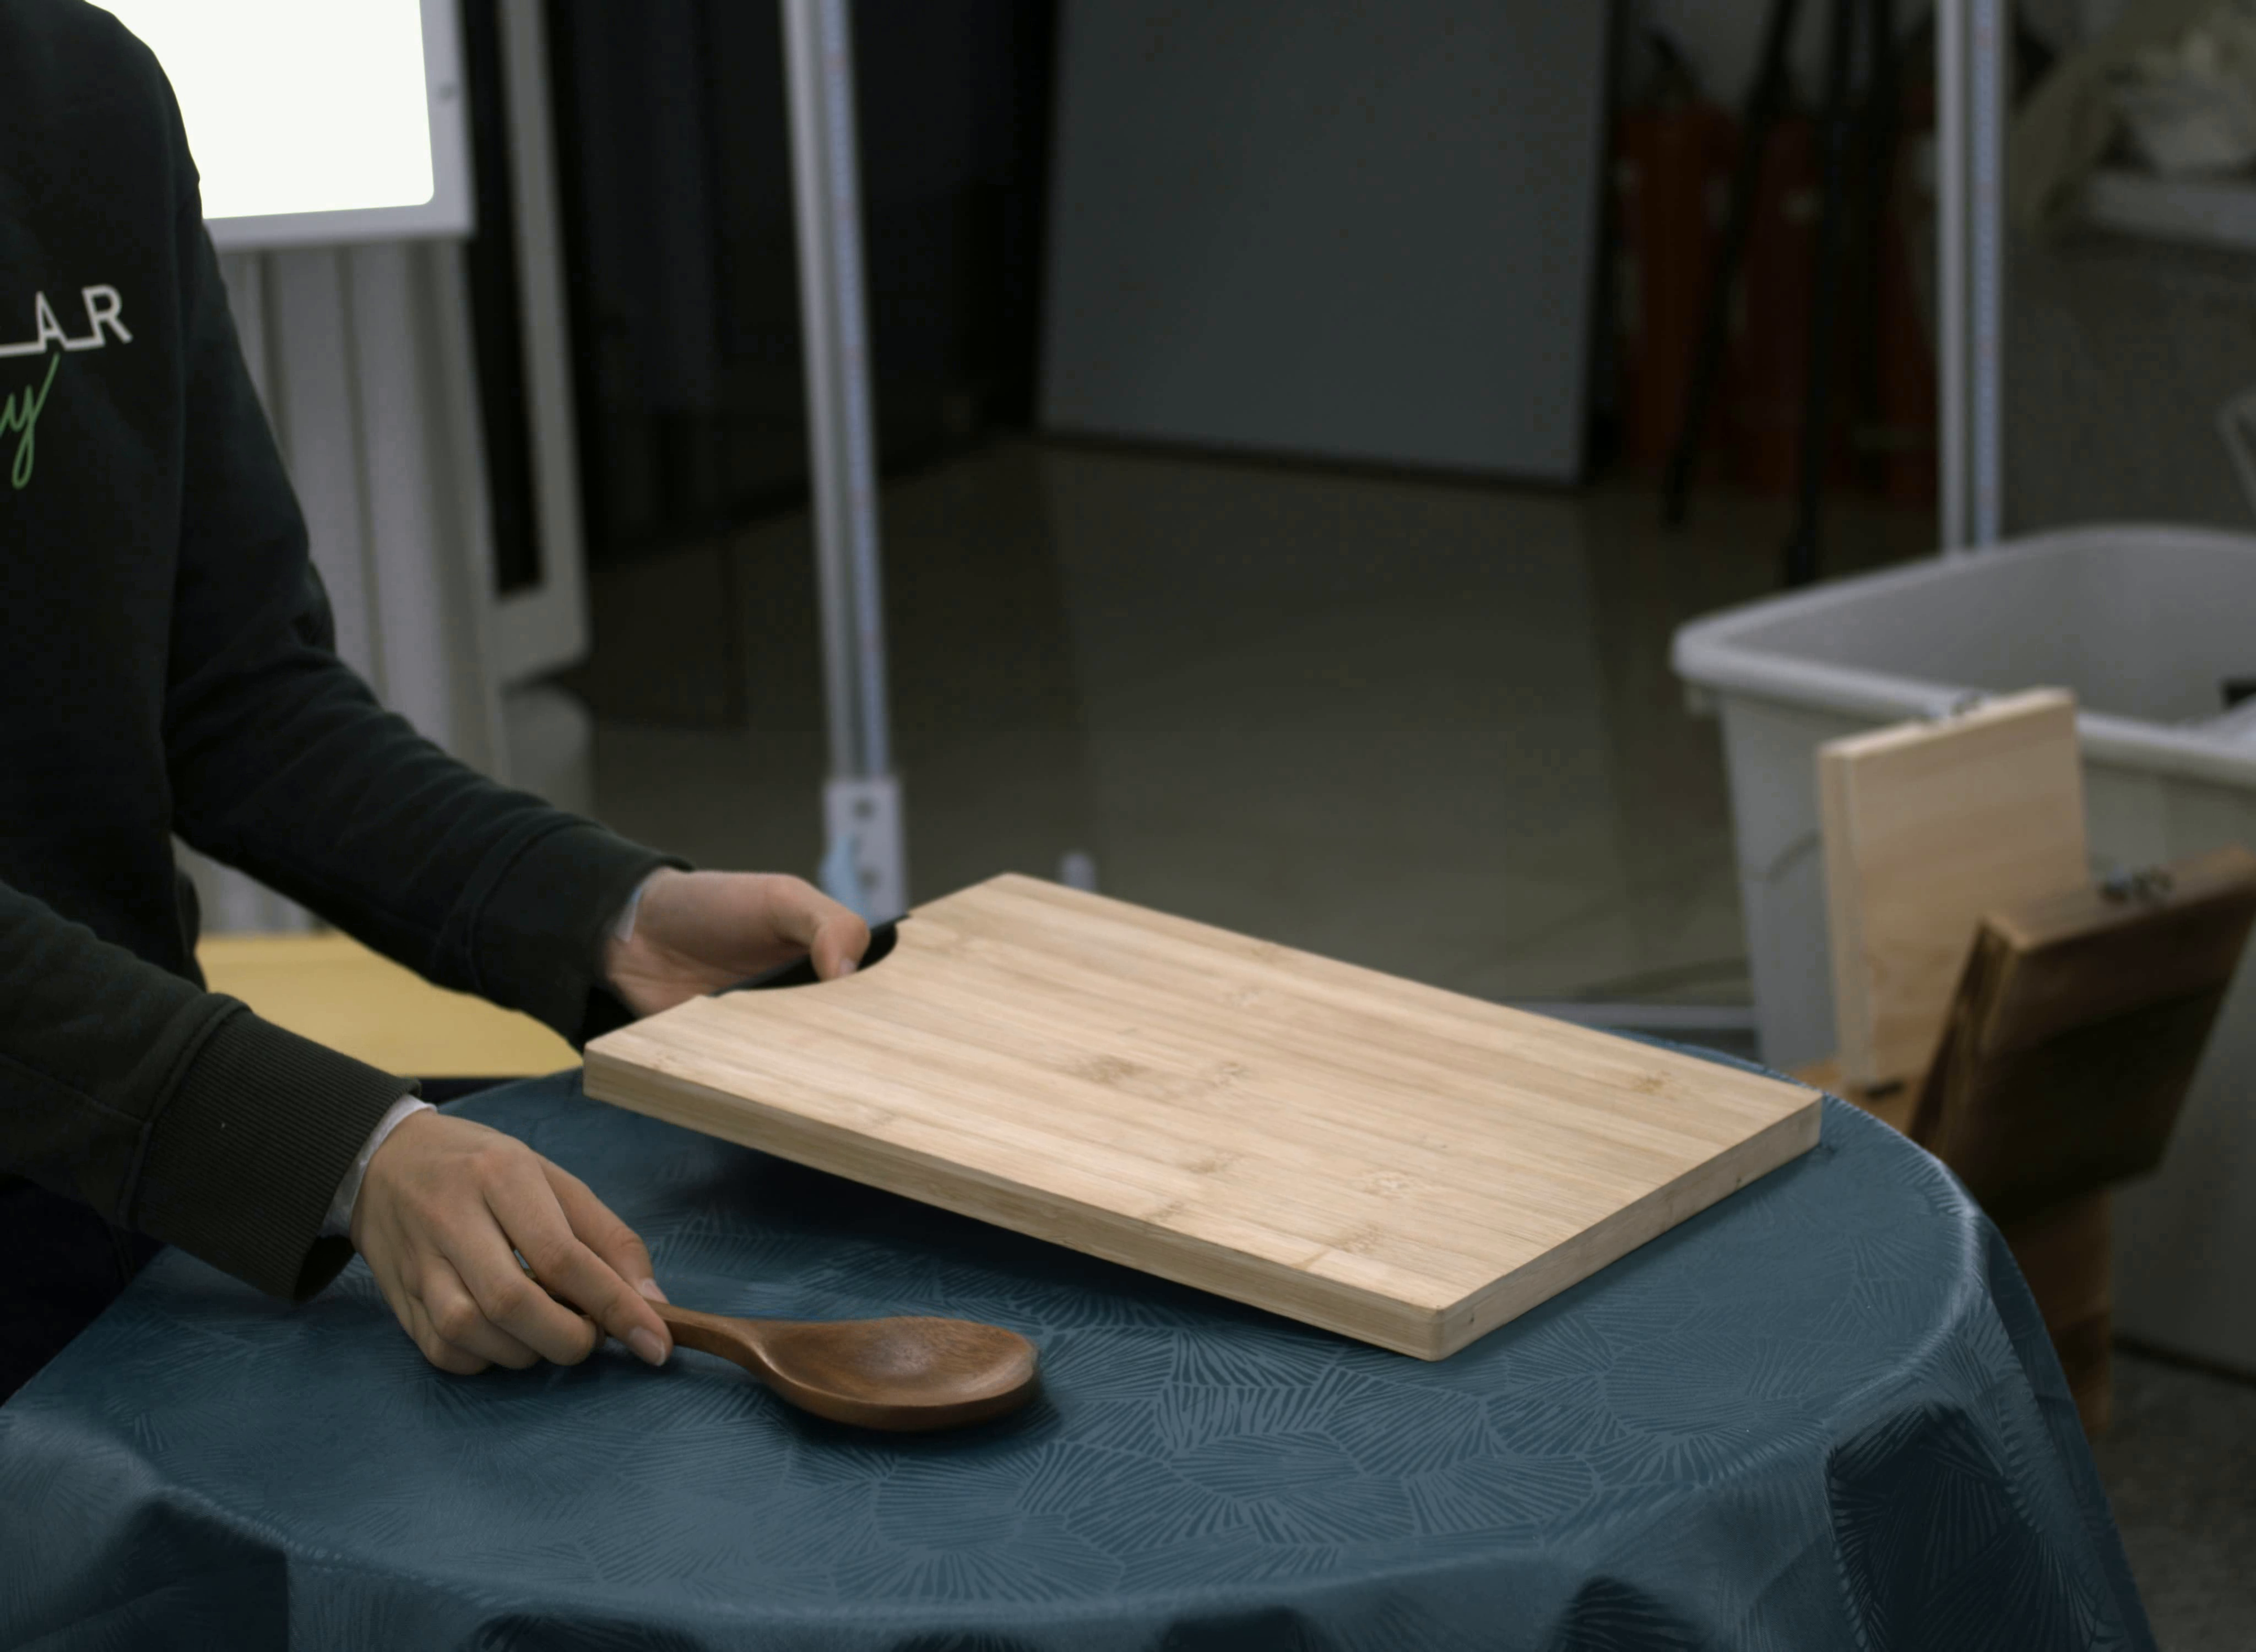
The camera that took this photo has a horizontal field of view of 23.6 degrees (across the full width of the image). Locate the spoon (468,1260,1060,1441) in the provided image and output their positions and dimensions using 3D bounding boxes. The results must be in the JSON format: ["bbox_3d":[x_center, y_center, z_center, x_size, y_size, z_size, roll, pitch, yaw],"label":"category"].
[{"bbox_3d":[-0.113,0.156,1.619,0.217,0.017,0.074,9,20,35],"label":"spoon"}]

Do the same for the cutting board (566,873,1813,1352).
[{"bbox_3d":[0.020,0.088,1.780,0.351,0.024,0.246,14,21,33],"label":"cutting board"}]
